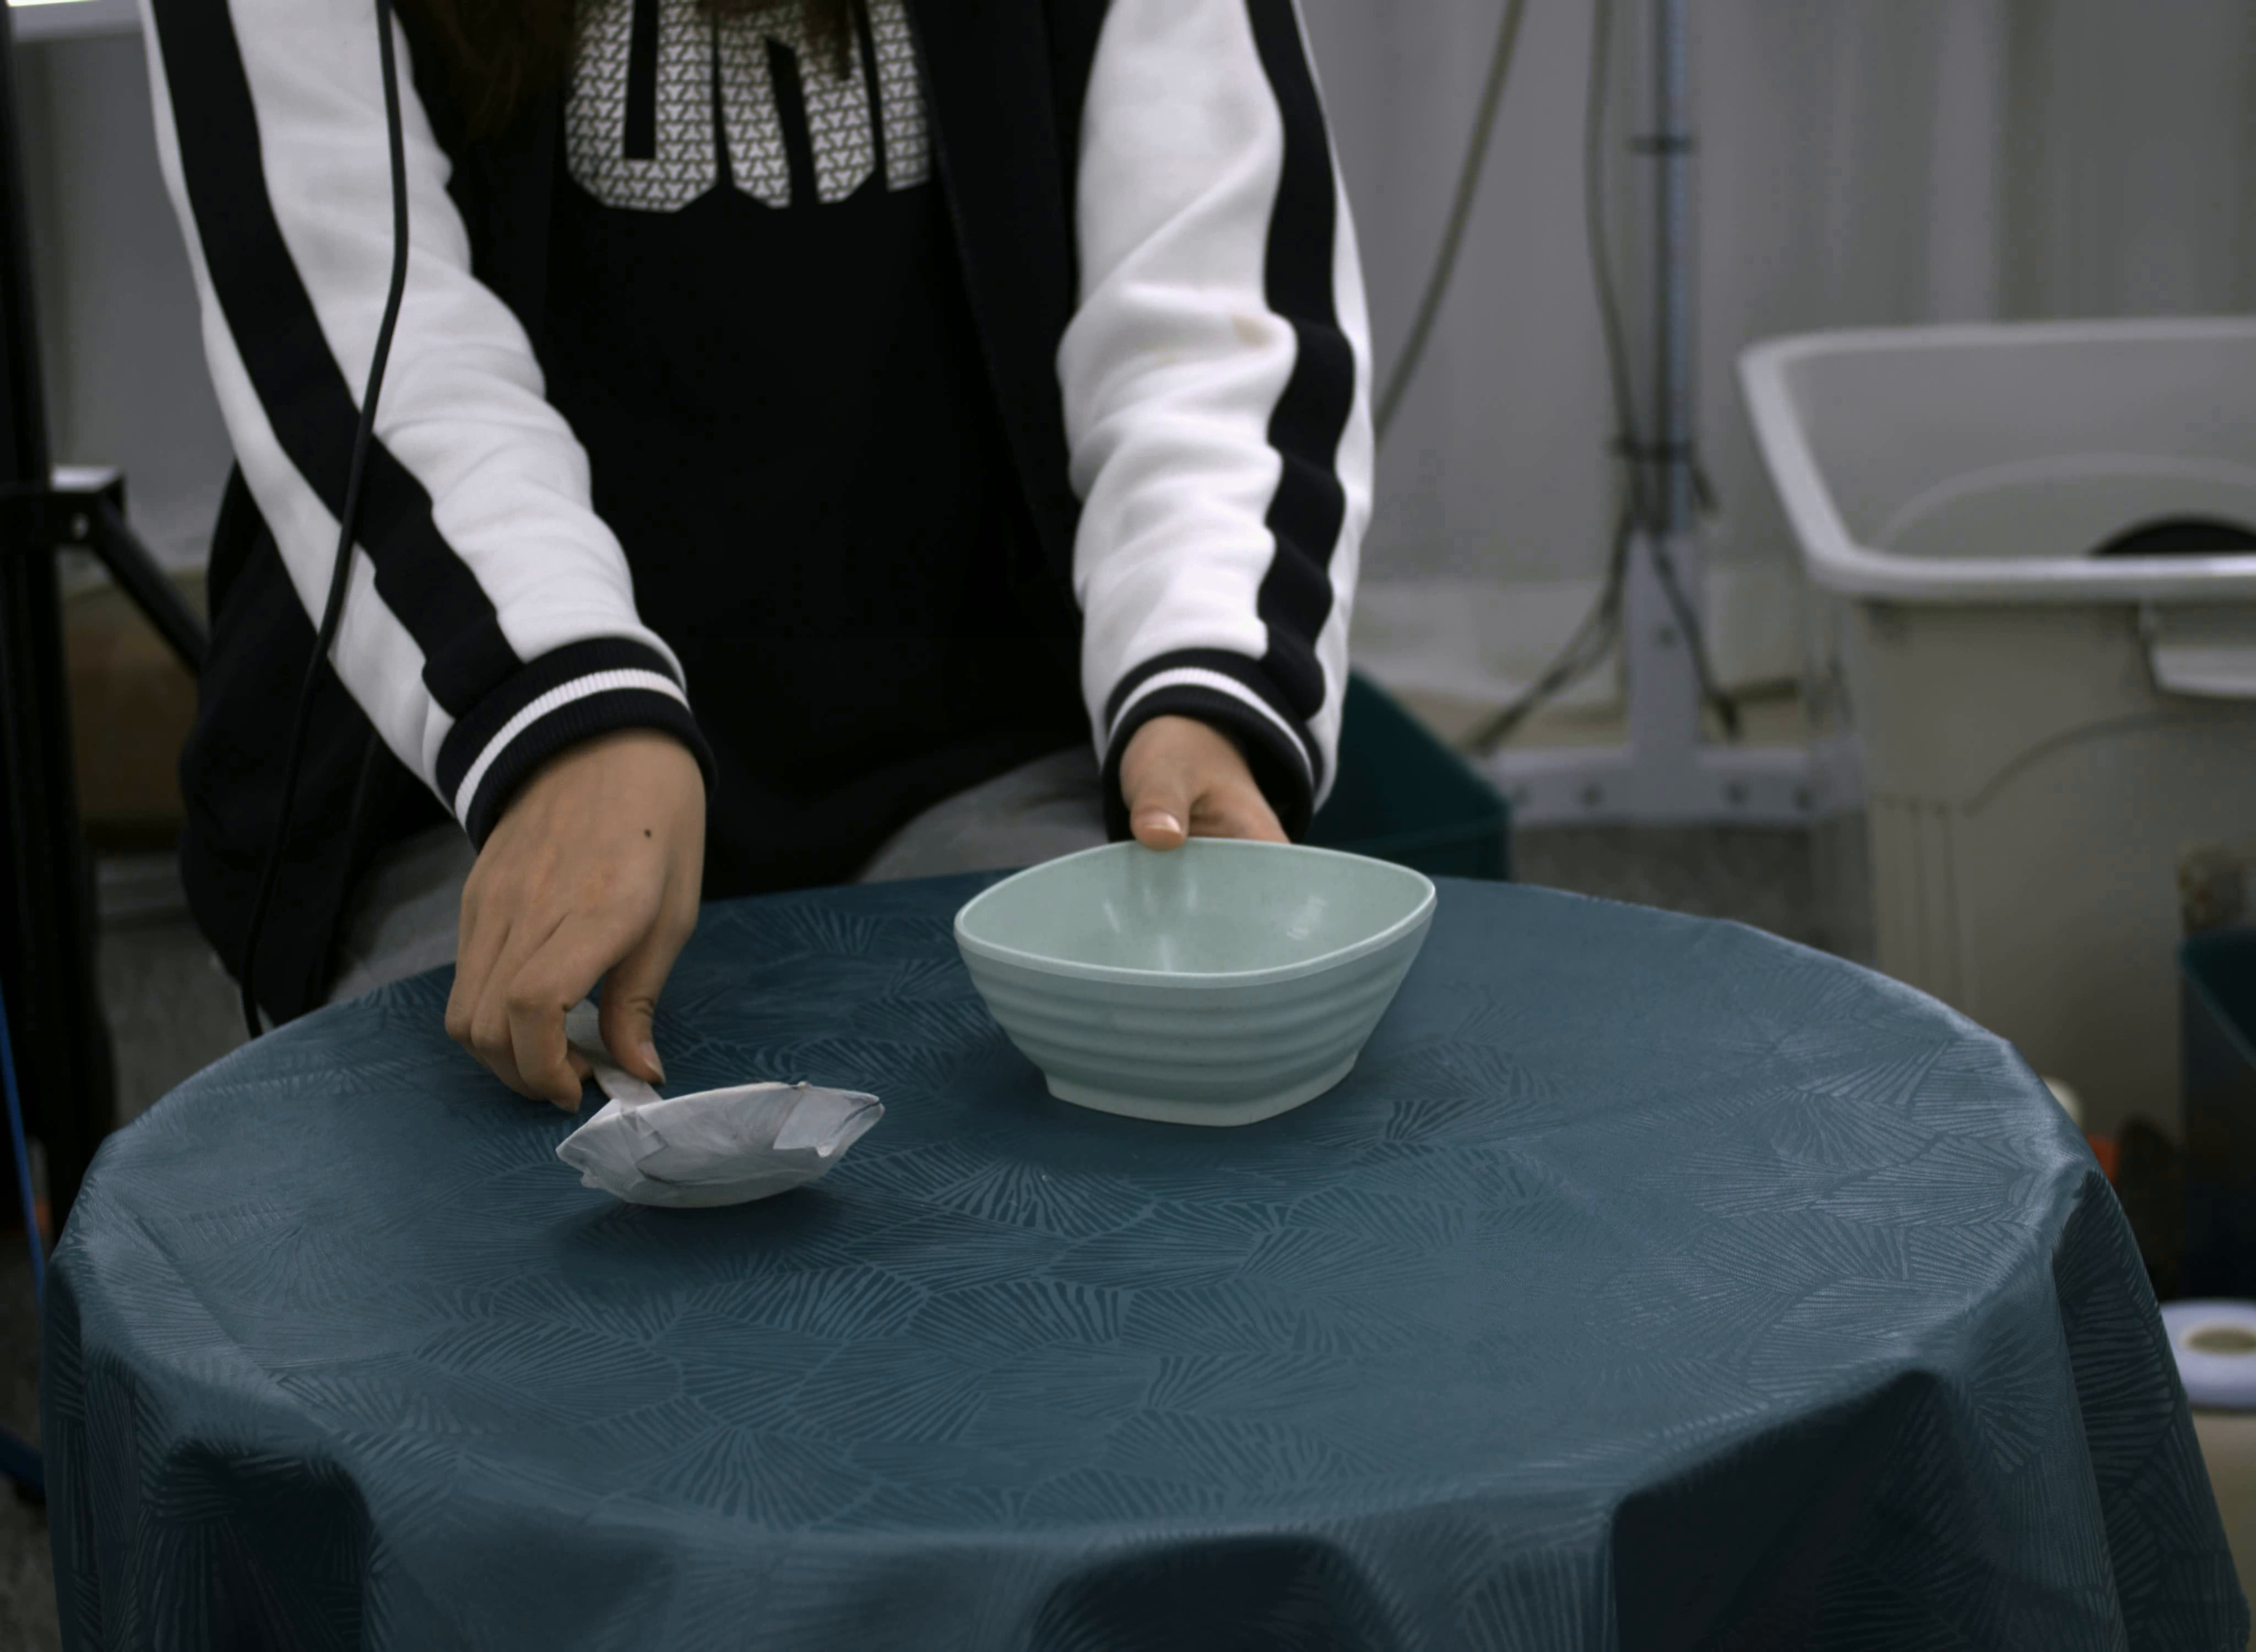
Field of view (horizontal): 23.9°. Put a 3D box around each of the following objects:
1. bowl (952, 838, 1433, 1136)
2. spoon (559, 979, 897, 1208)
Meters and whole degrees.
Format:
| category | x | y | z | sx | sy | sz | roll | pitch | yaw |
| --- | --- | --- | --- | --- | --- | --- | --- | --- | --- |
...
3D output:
| category | x | y | z | sx | sy | sz | roll | pitch | yaw |
| --- | --- | --- | --- | --- | --- | --- | --- | --- | --- |
| bowl | 0.021 | 0.053 | 1.650 | 0.150 | 0.058 | 0.152 | -2 | 17 | -1 |
| spoon | -0.138 | 0.064 | 1.634 | 0.099 | 0.059 | 0.281 | 0 | 15 | -14 |
